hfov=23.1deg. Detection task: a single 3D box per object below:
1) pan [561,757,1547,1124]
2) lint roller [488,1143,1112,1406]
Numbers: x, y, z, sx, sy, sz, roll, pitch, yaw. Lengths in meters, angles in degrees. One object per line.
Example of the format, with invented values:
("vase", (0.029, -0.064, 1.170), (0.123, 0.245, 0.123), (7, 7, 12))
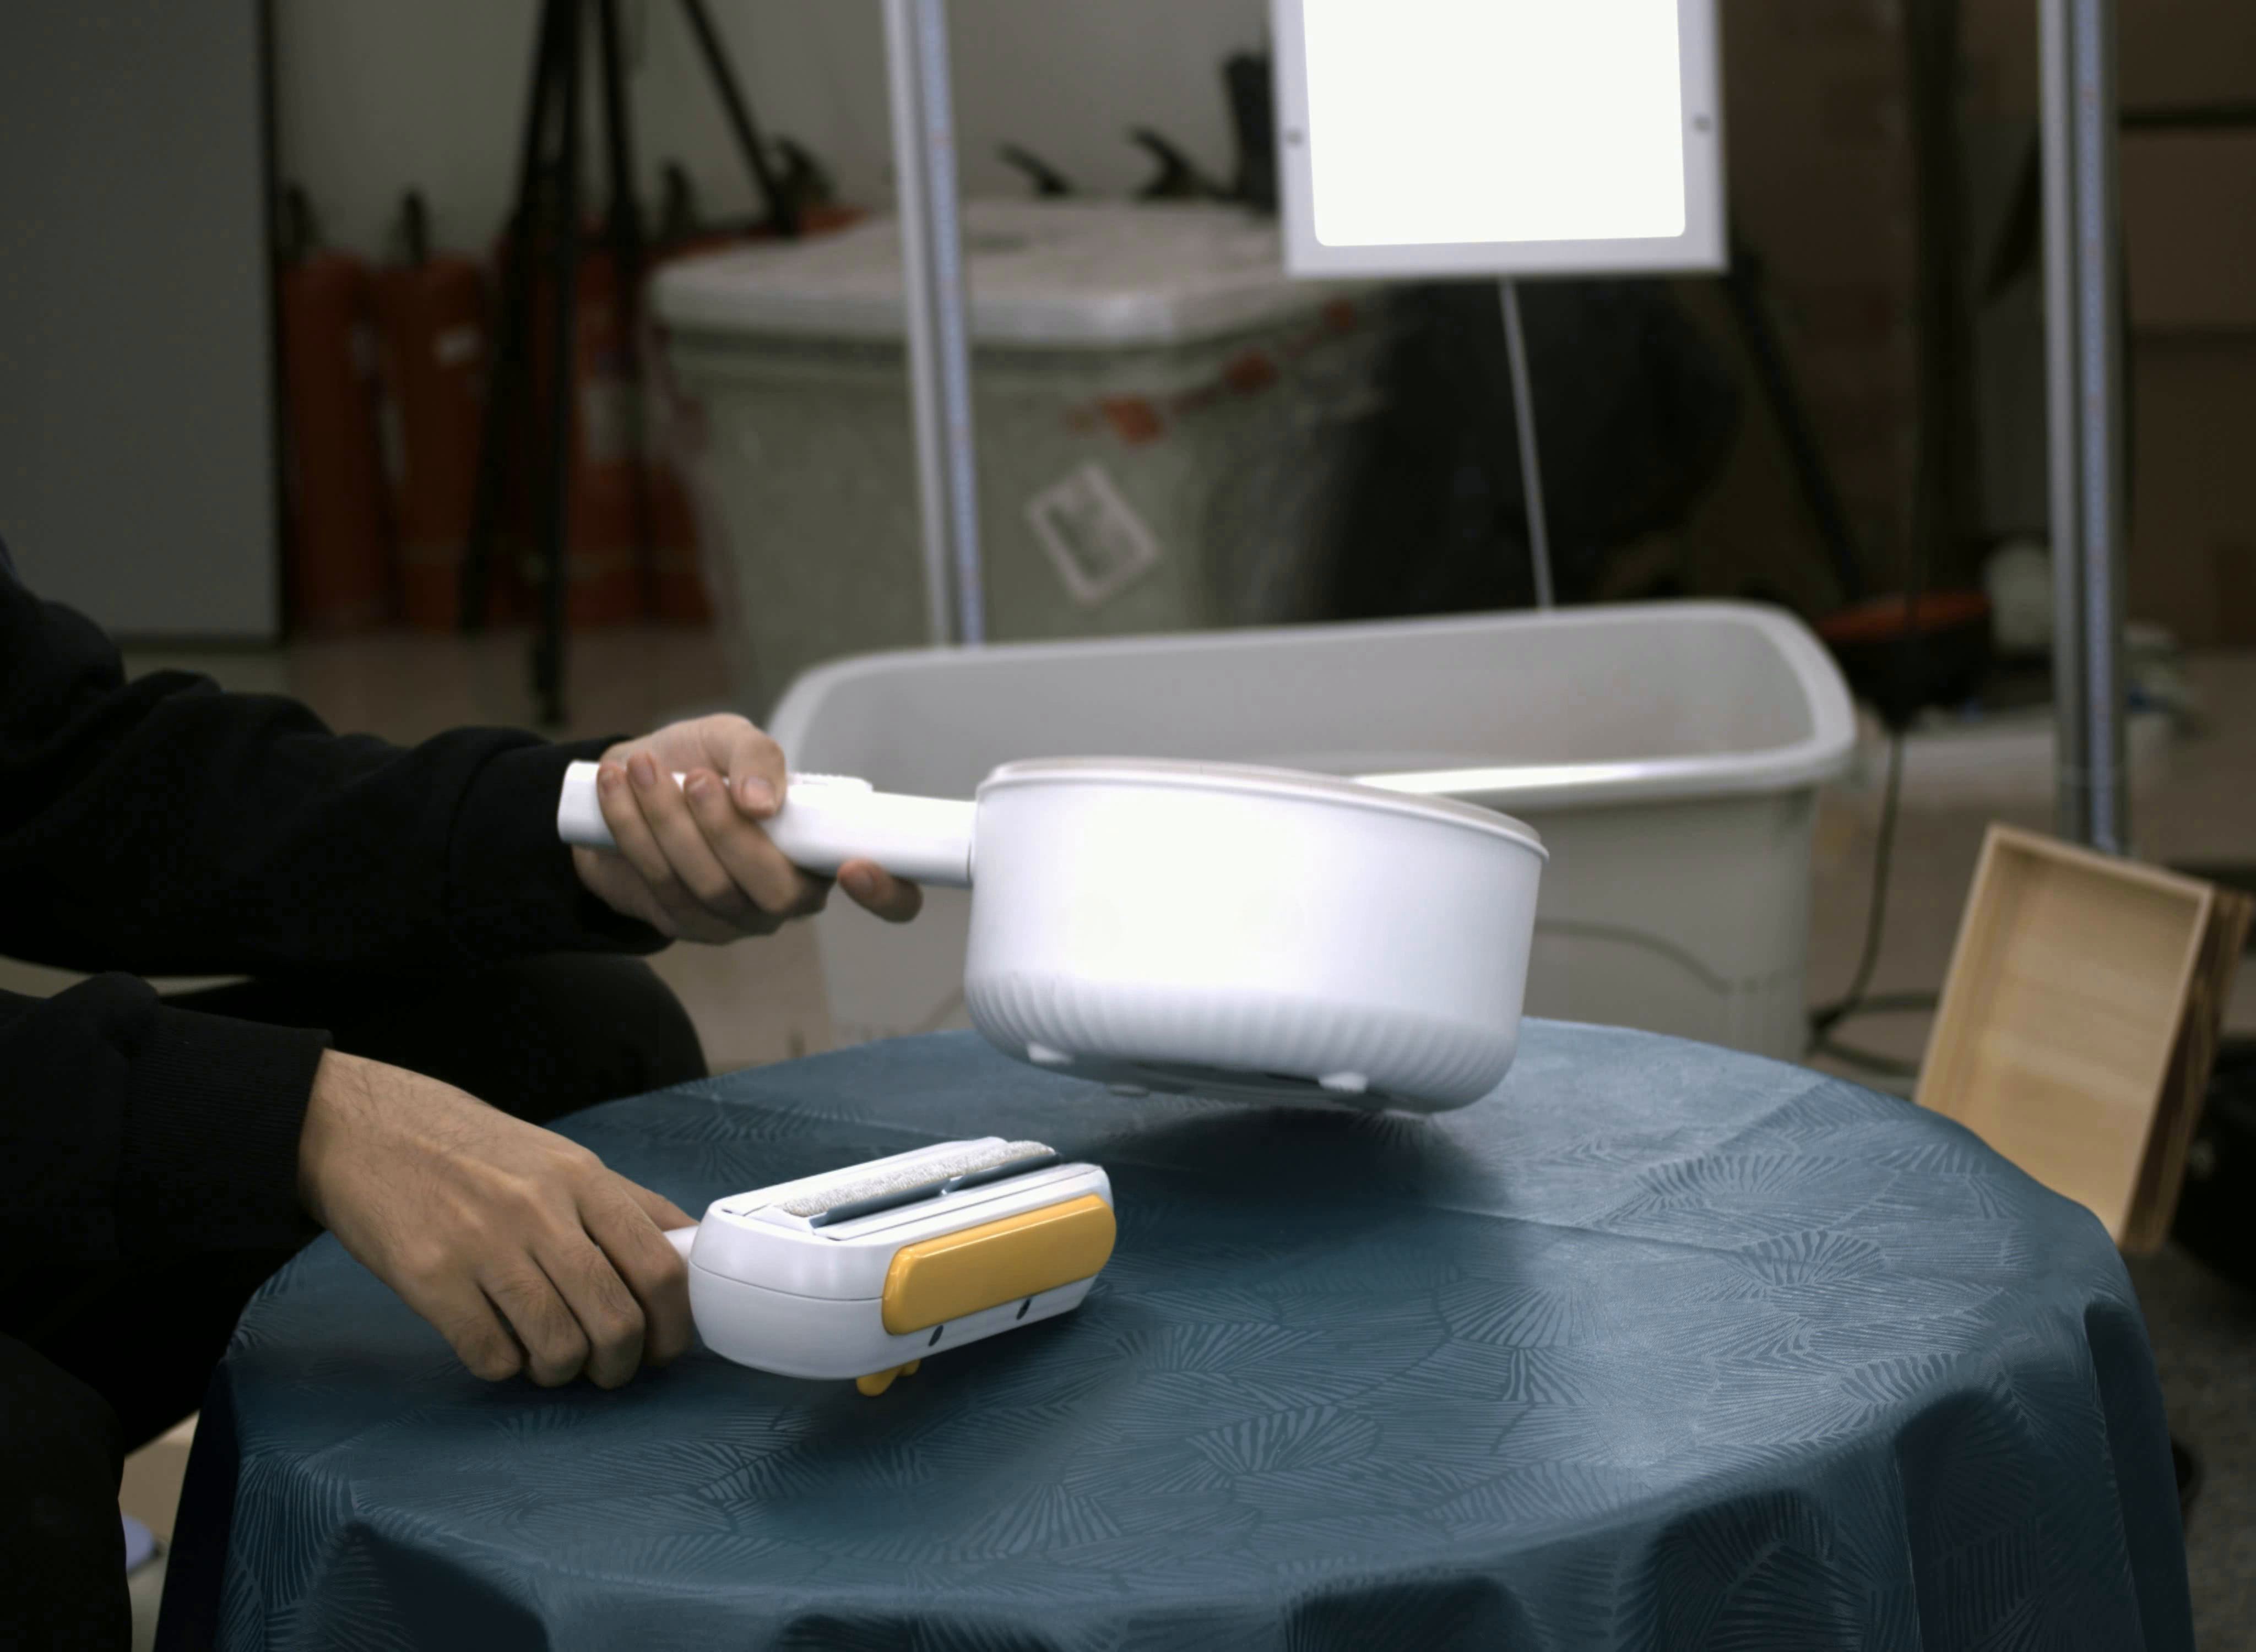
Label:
("pan", (-0.032, 0.037, 1.928), (0.359, 0.102, 0.198), (4, -7, 18))
("lint roller", (-0.122, 0.140, 1.744), (0.196, 0.074, 0.188), (2, 10, 32))
